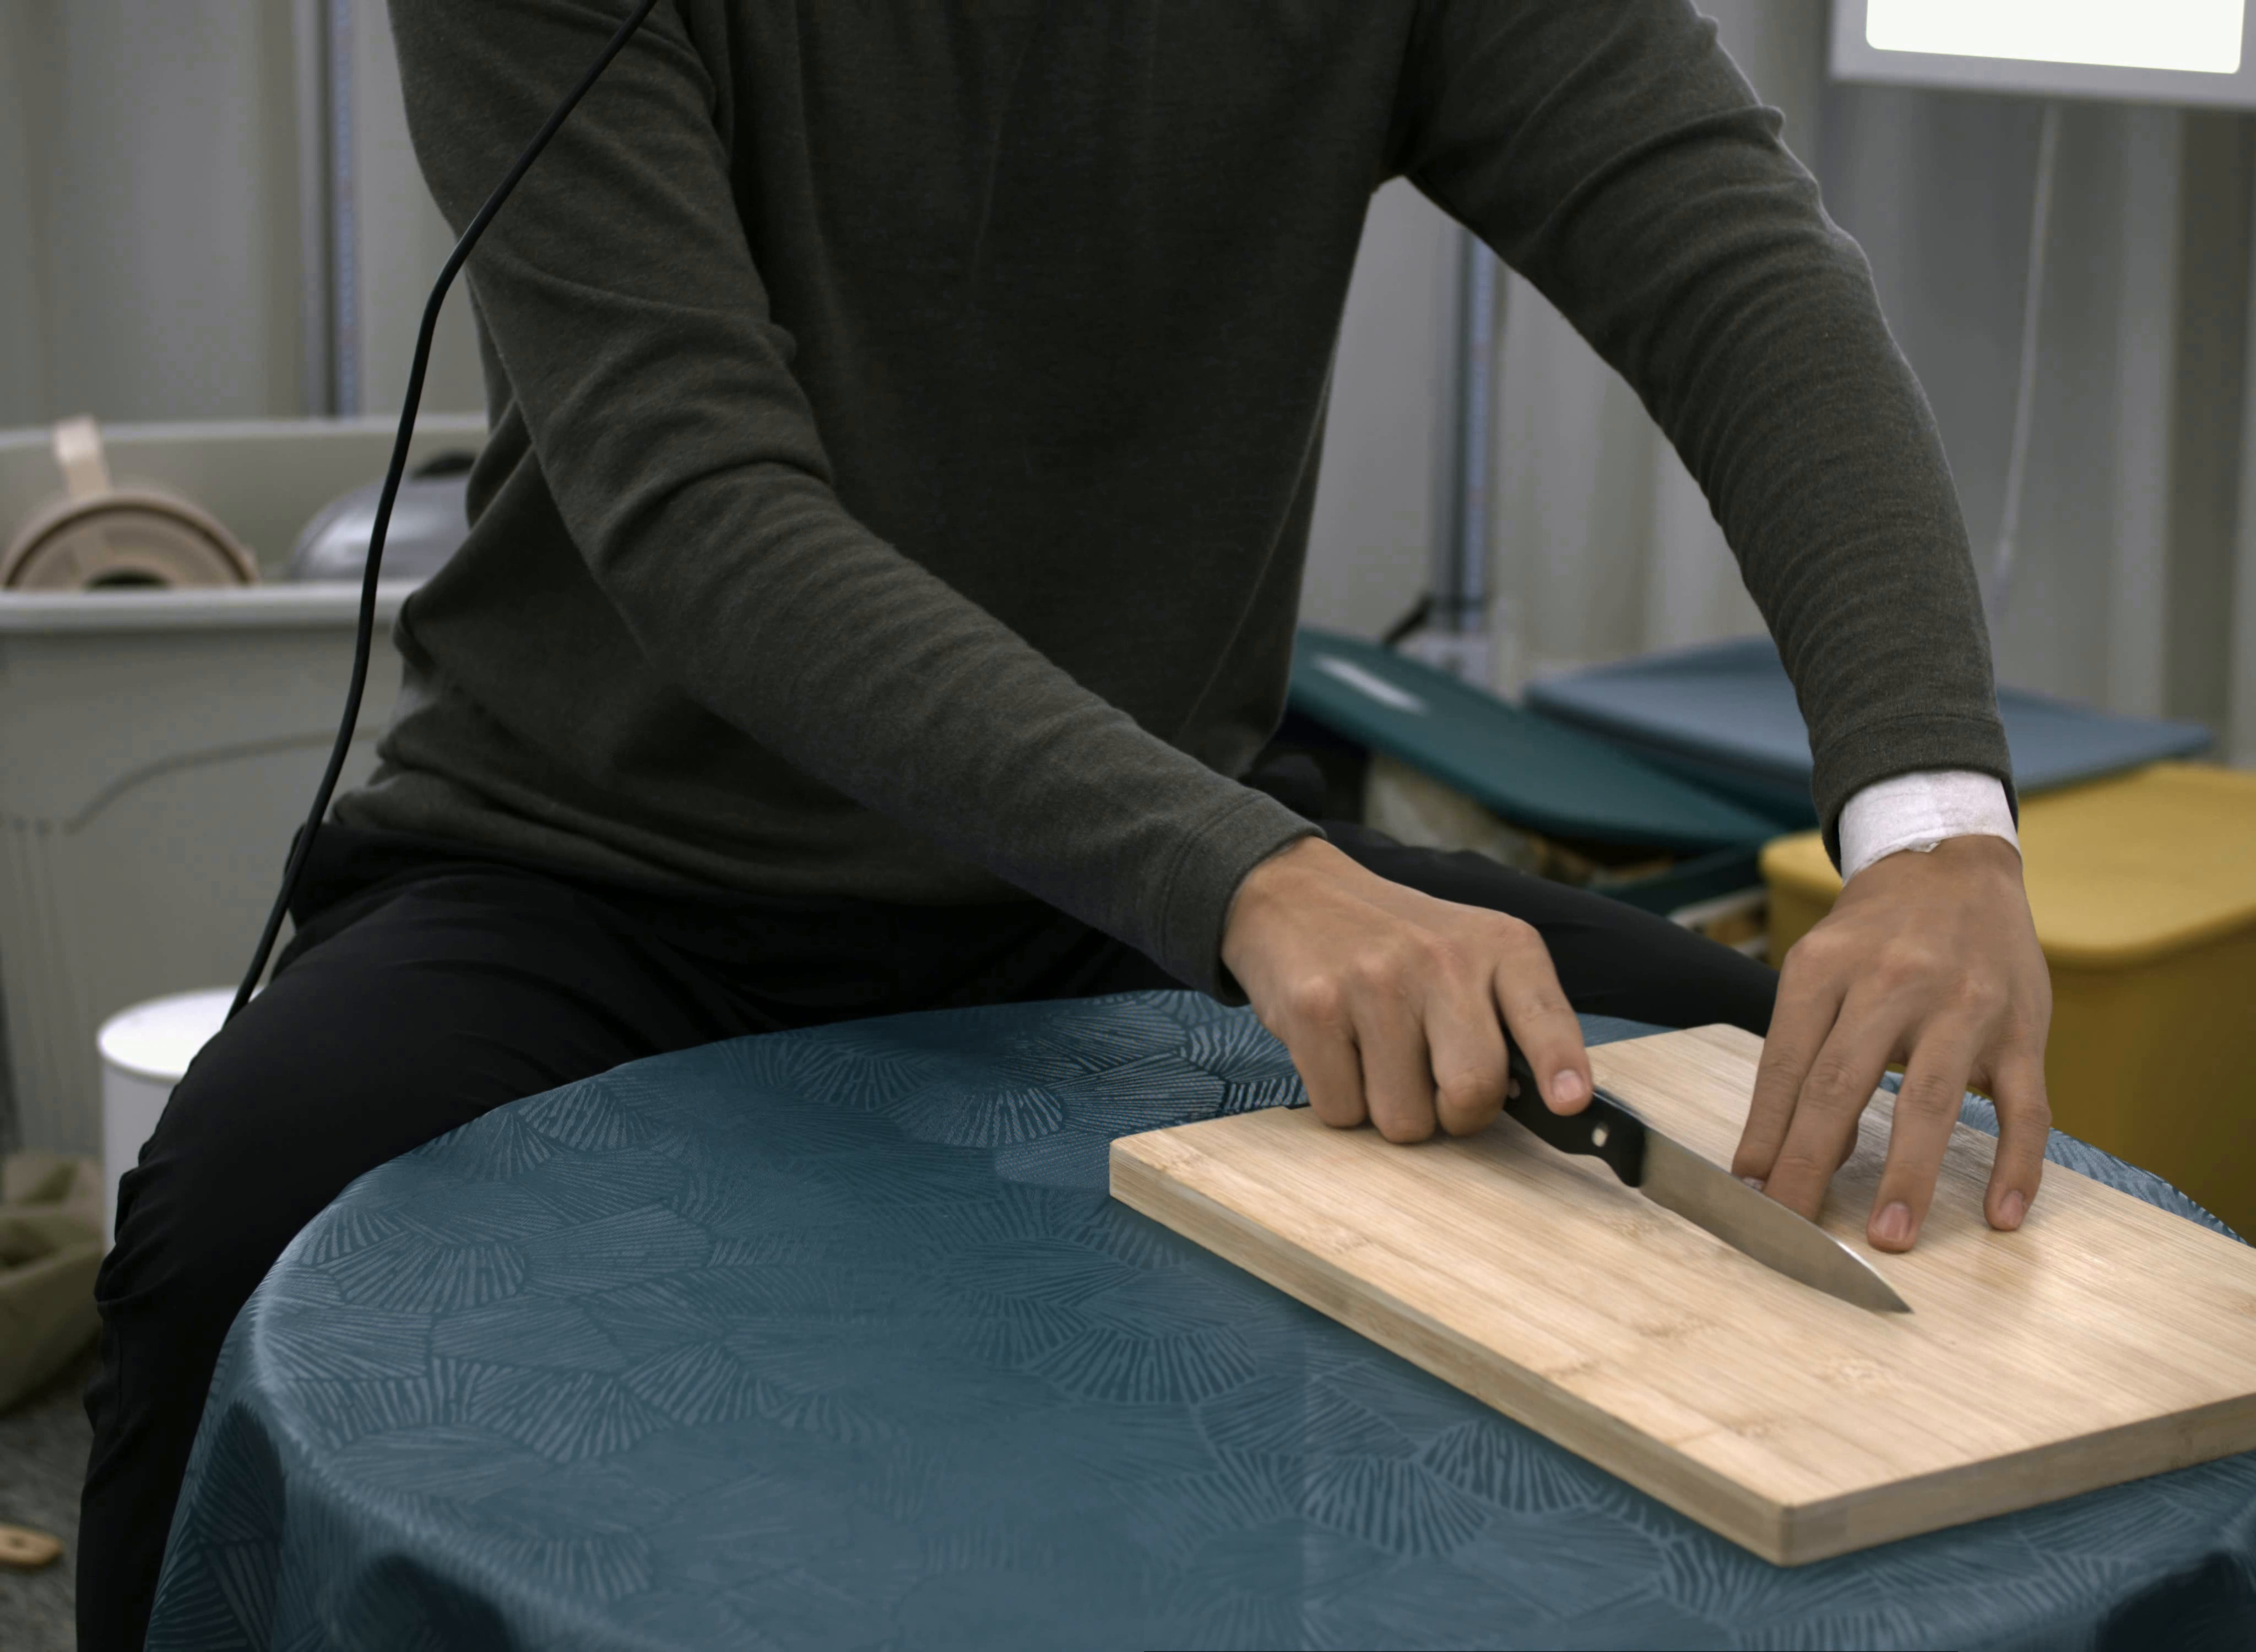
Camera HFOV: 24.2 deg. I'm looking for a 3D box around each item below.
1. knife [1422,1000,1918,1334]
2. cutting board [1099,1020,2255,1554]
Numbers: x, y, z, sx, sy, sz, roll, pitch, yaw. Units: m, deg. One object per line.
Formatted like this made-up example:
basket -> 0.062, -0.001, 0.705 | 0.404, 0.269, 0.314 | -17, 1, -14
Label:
knife -> 0.158, 0.098, 1.550 | 0.016, 0.024, 0.235 | -4, 22, -32
cutting board -> 0.181, 0.127, 1.549 | 0.252, 0.024, 0.344 | -8, 18, -32
